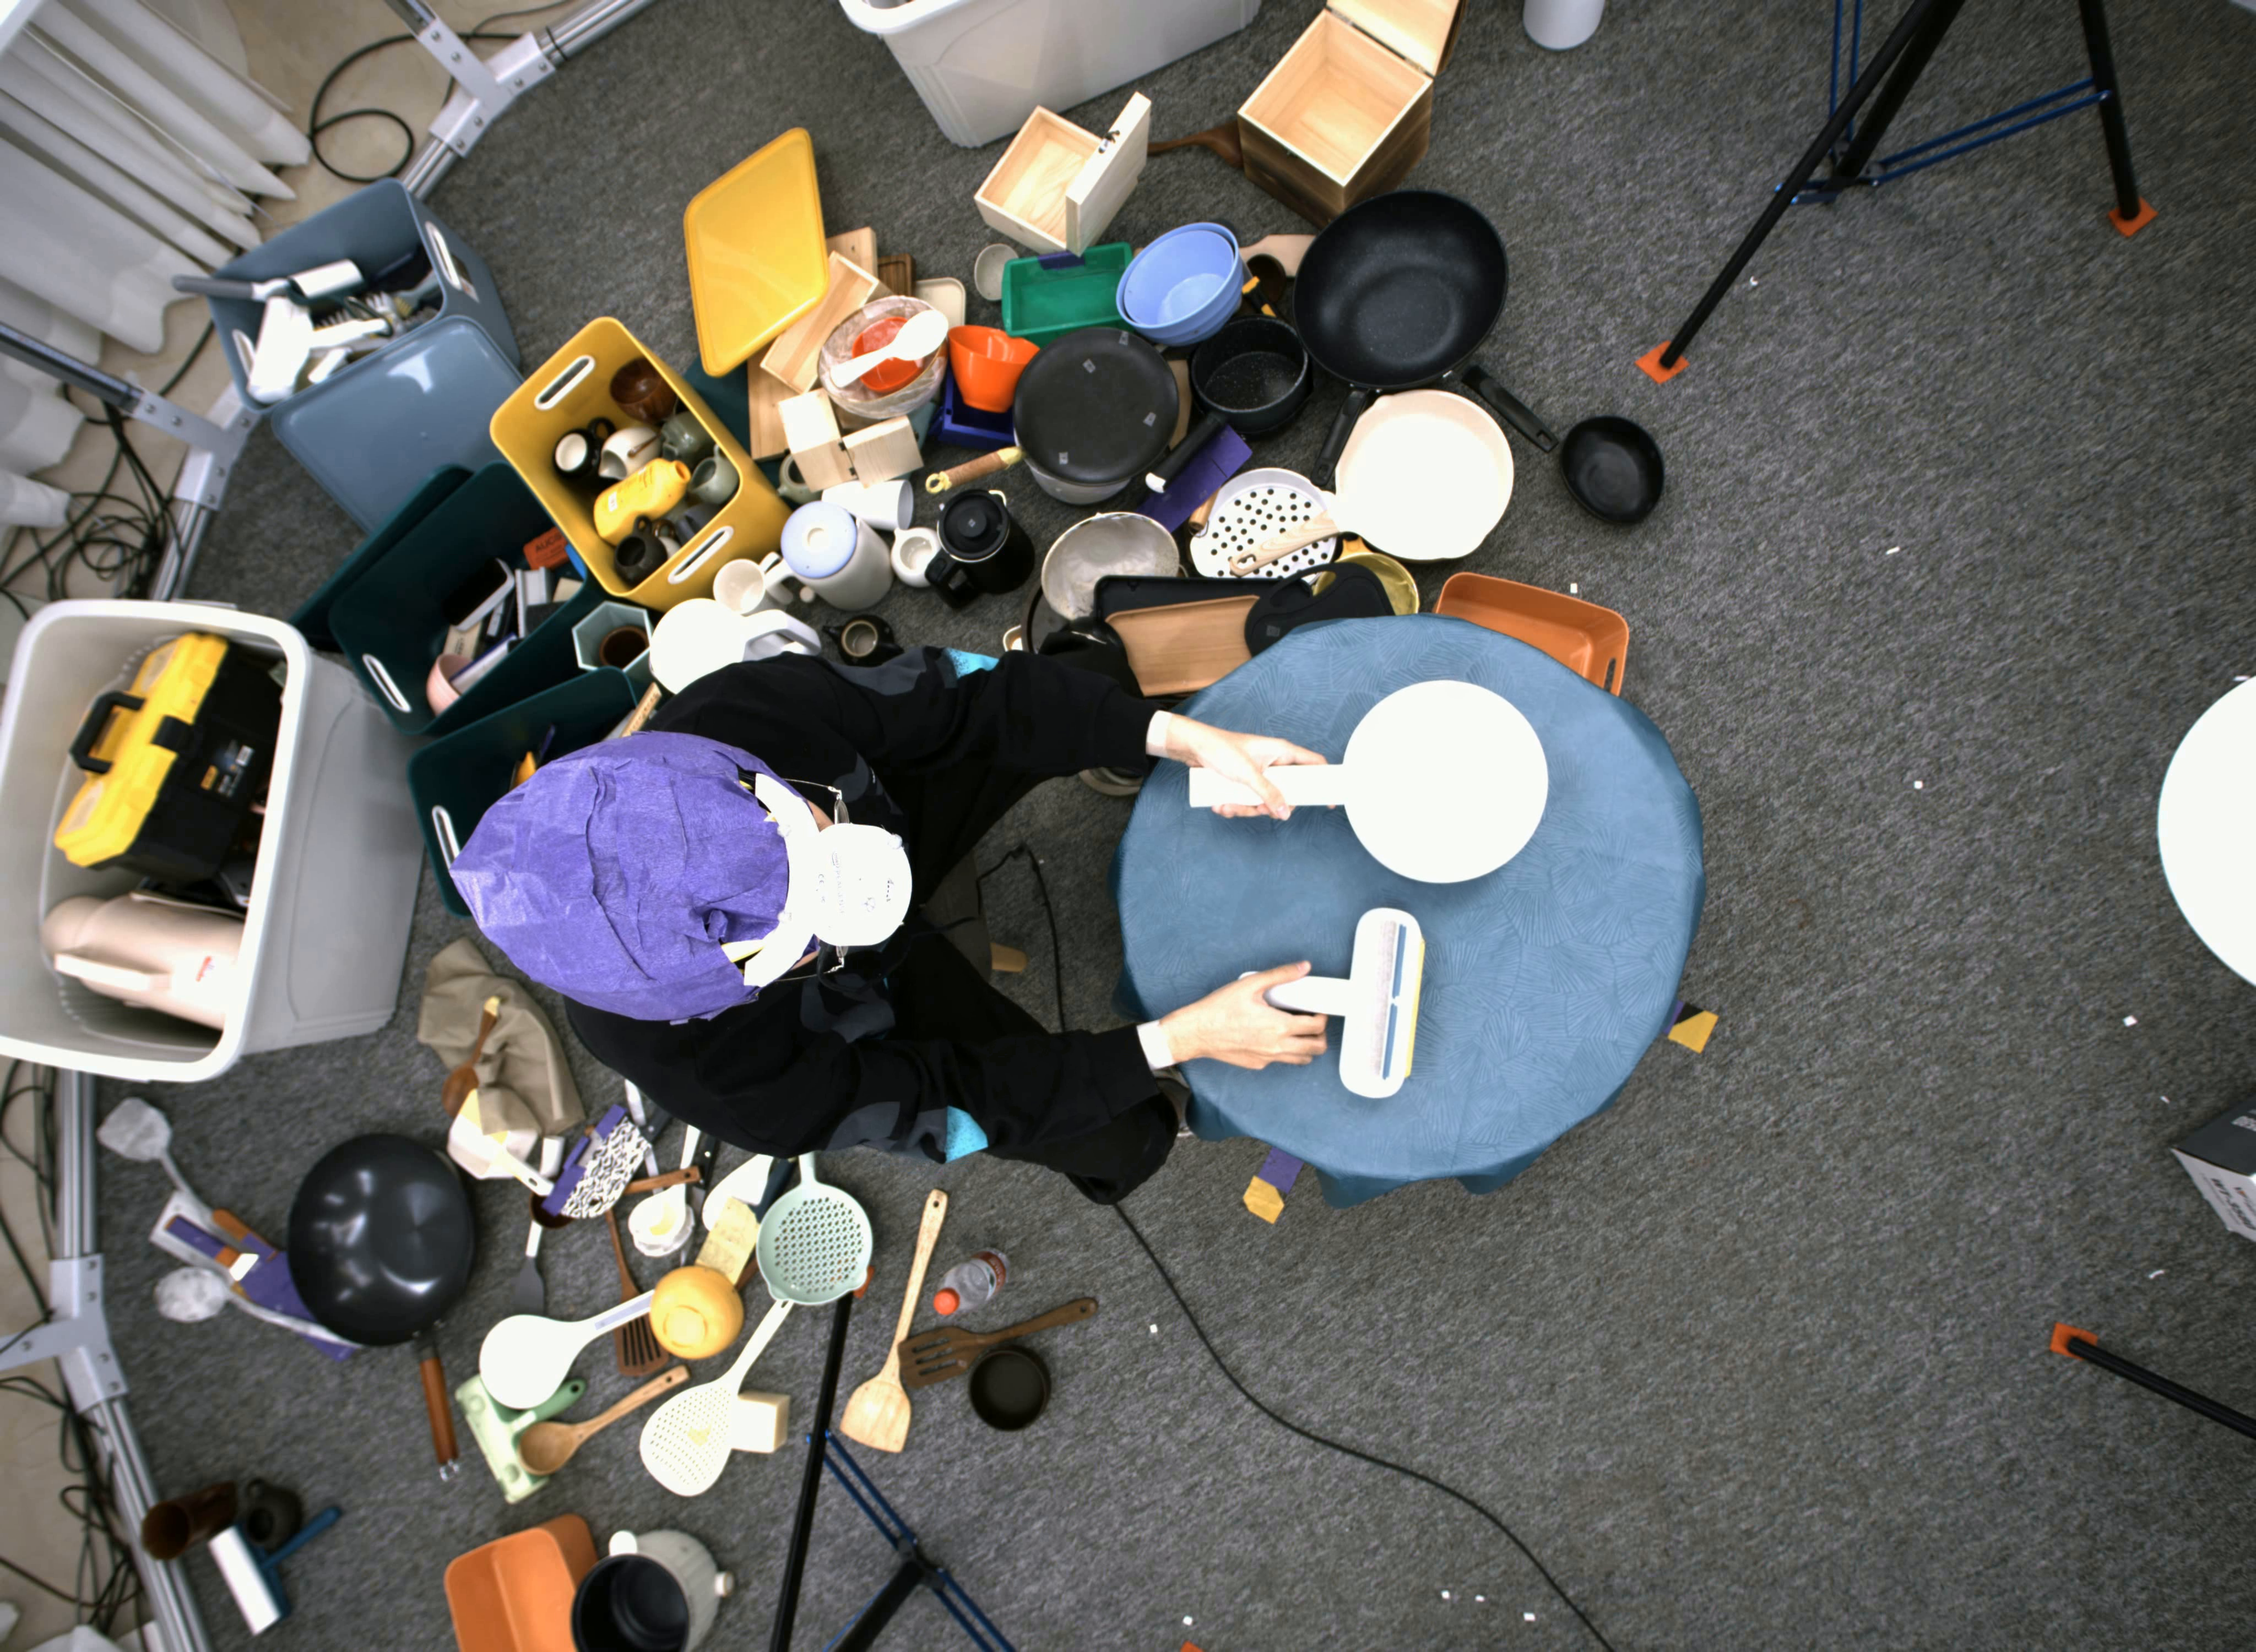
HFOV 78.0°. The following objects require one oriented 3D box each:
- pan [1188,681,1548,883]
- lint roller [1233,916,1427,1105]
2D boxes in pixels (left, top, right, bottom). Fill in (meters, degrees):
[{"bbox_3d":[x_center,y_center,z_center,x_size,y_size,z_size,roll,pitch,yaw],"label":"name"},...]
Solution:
[{"bbox_3d":[0.242,-0.040,1.411,0.356,0.102,0.200,-1,86,9],"label":"pan"},{"bbox_3d":[0.201,0.177,1.428,0.193,0.074,0.191,10,83,12],"label":"lint roller"}]
